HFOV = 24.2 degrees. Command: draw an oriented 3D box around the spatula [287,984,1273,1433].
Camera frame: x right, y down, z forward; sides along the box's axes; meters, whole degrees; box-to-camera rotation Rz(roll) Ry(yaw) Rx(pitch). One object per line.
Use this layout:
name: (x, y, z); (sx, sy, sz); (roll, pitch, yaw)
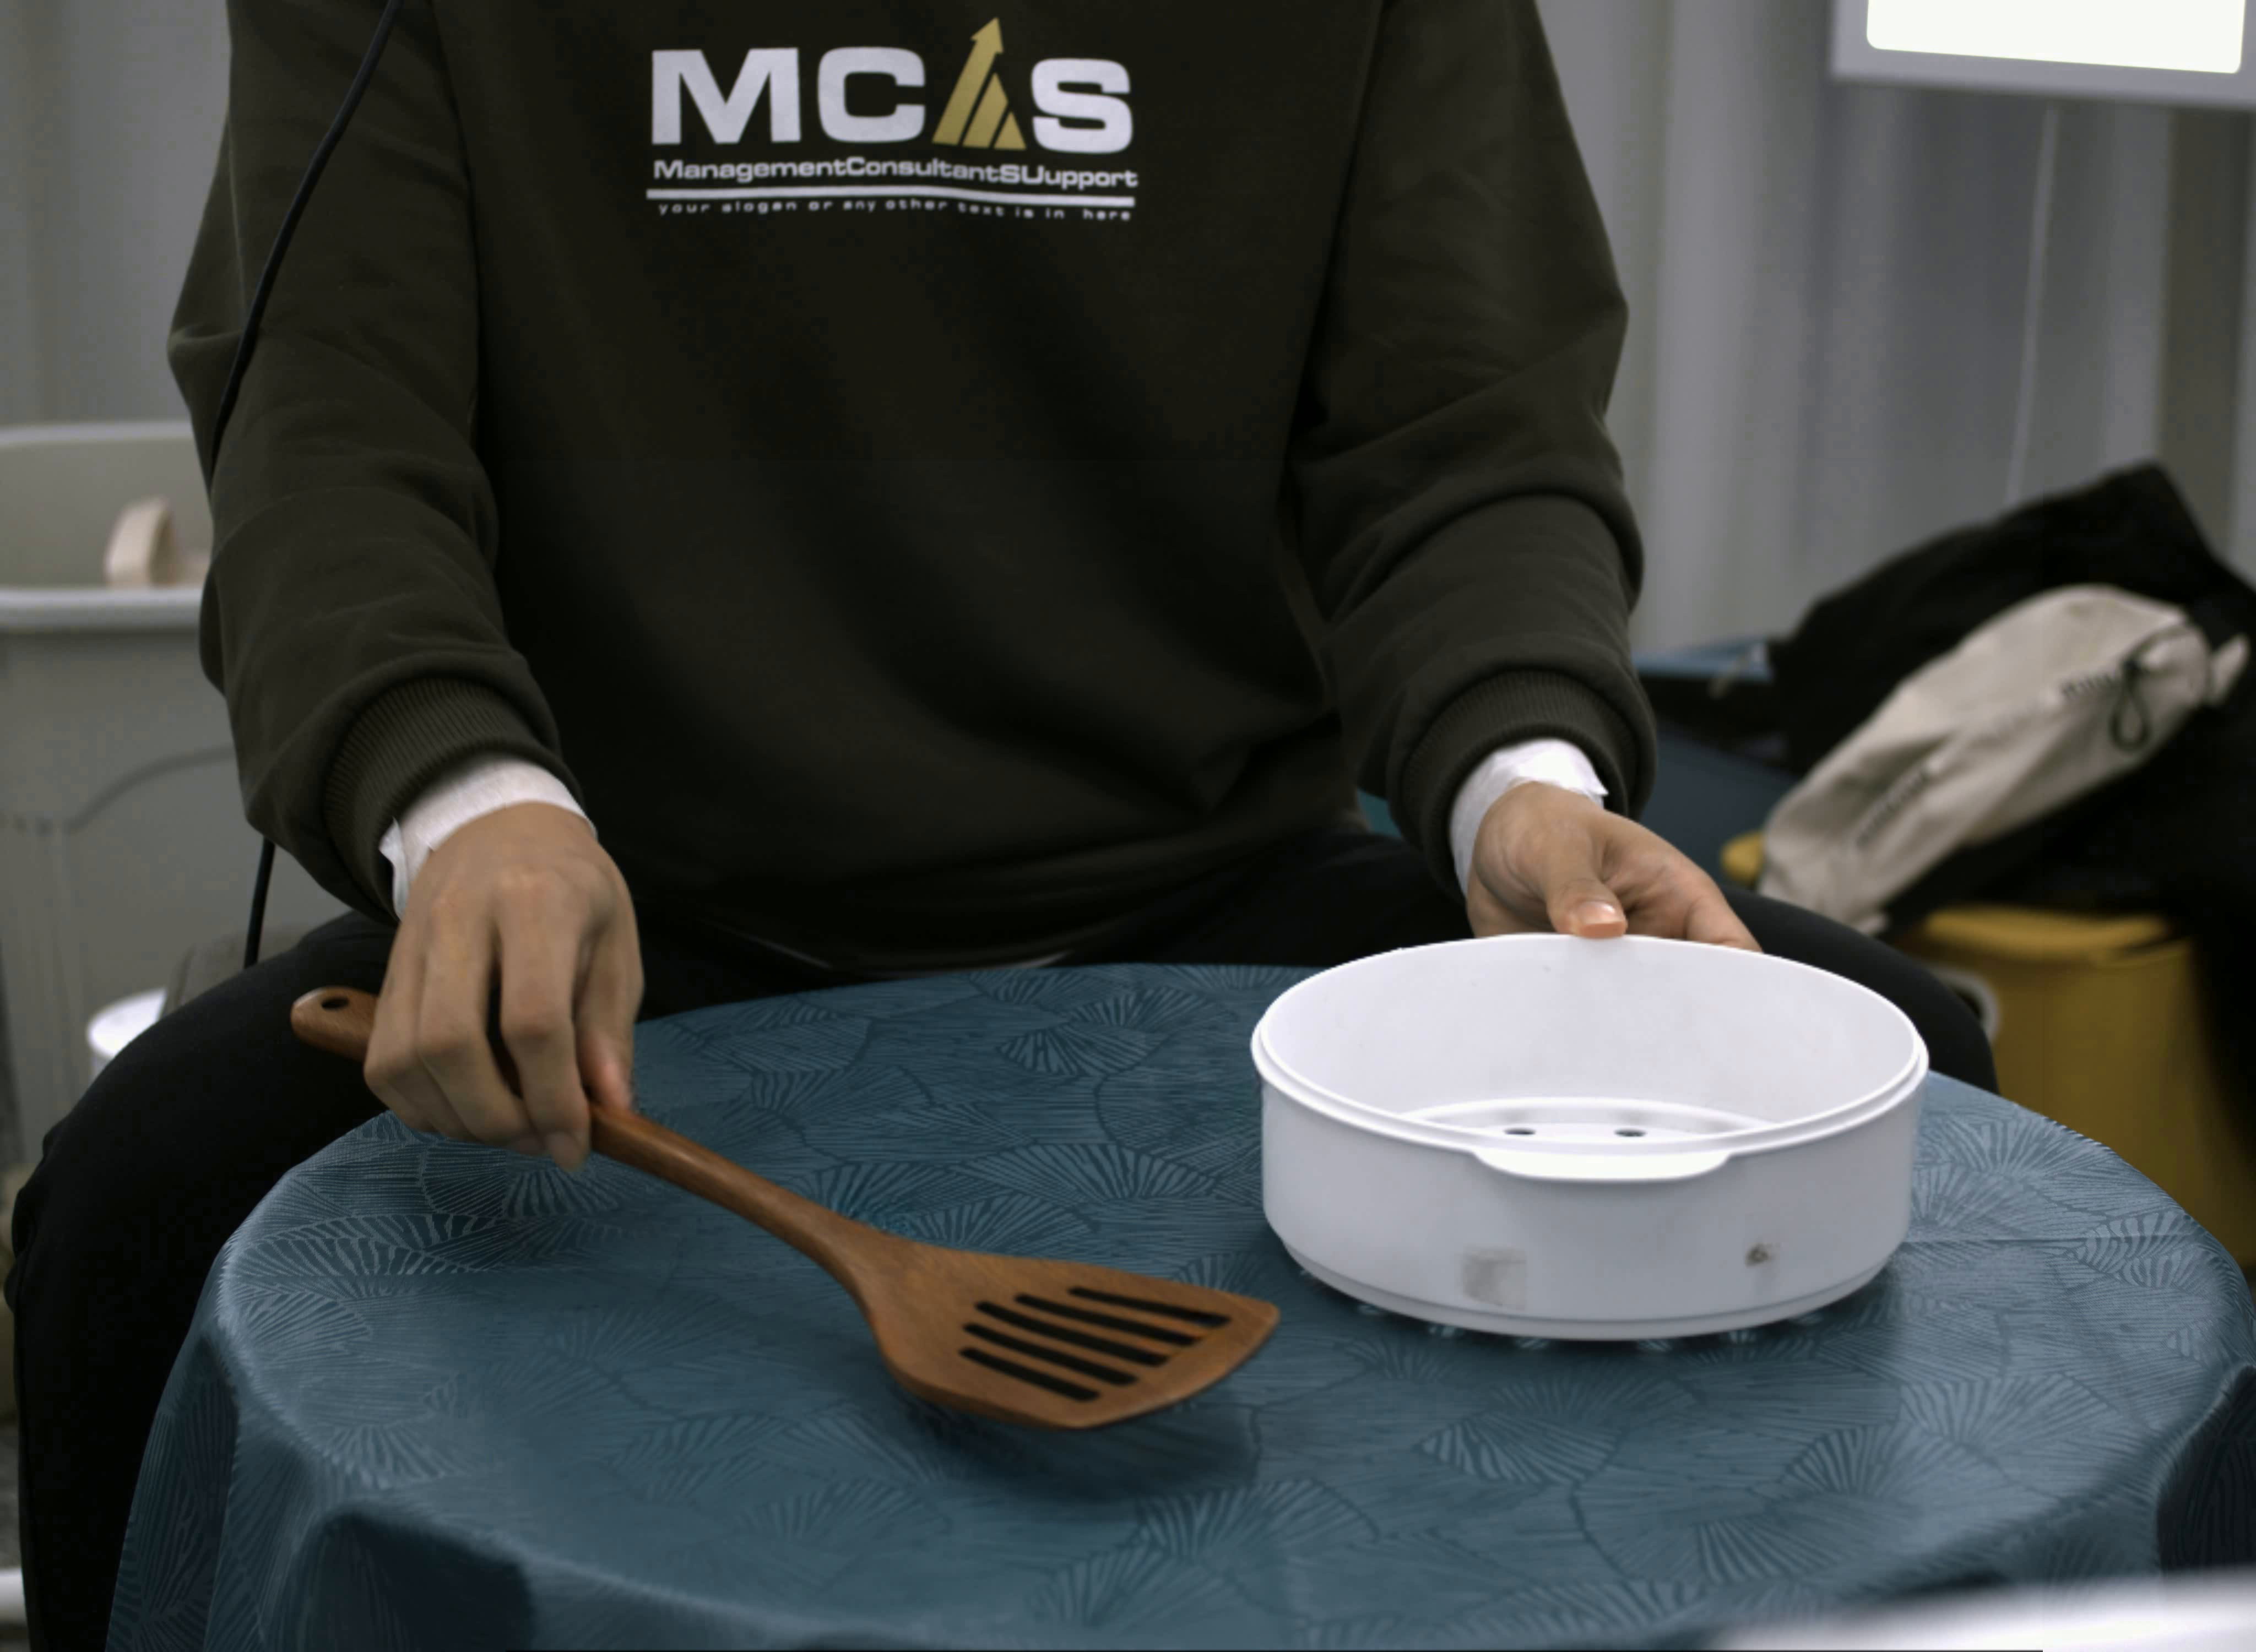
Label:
spatula: (-0.120, 0.105, 1.517); (0.380, 0.024, 0.086); (20, 34, 39)

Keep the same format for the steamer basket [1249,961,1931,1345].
steamer basket: (0.135, 0.096, 1.566); (0.201, 0.070, 0.229); (3, 13, 1)
